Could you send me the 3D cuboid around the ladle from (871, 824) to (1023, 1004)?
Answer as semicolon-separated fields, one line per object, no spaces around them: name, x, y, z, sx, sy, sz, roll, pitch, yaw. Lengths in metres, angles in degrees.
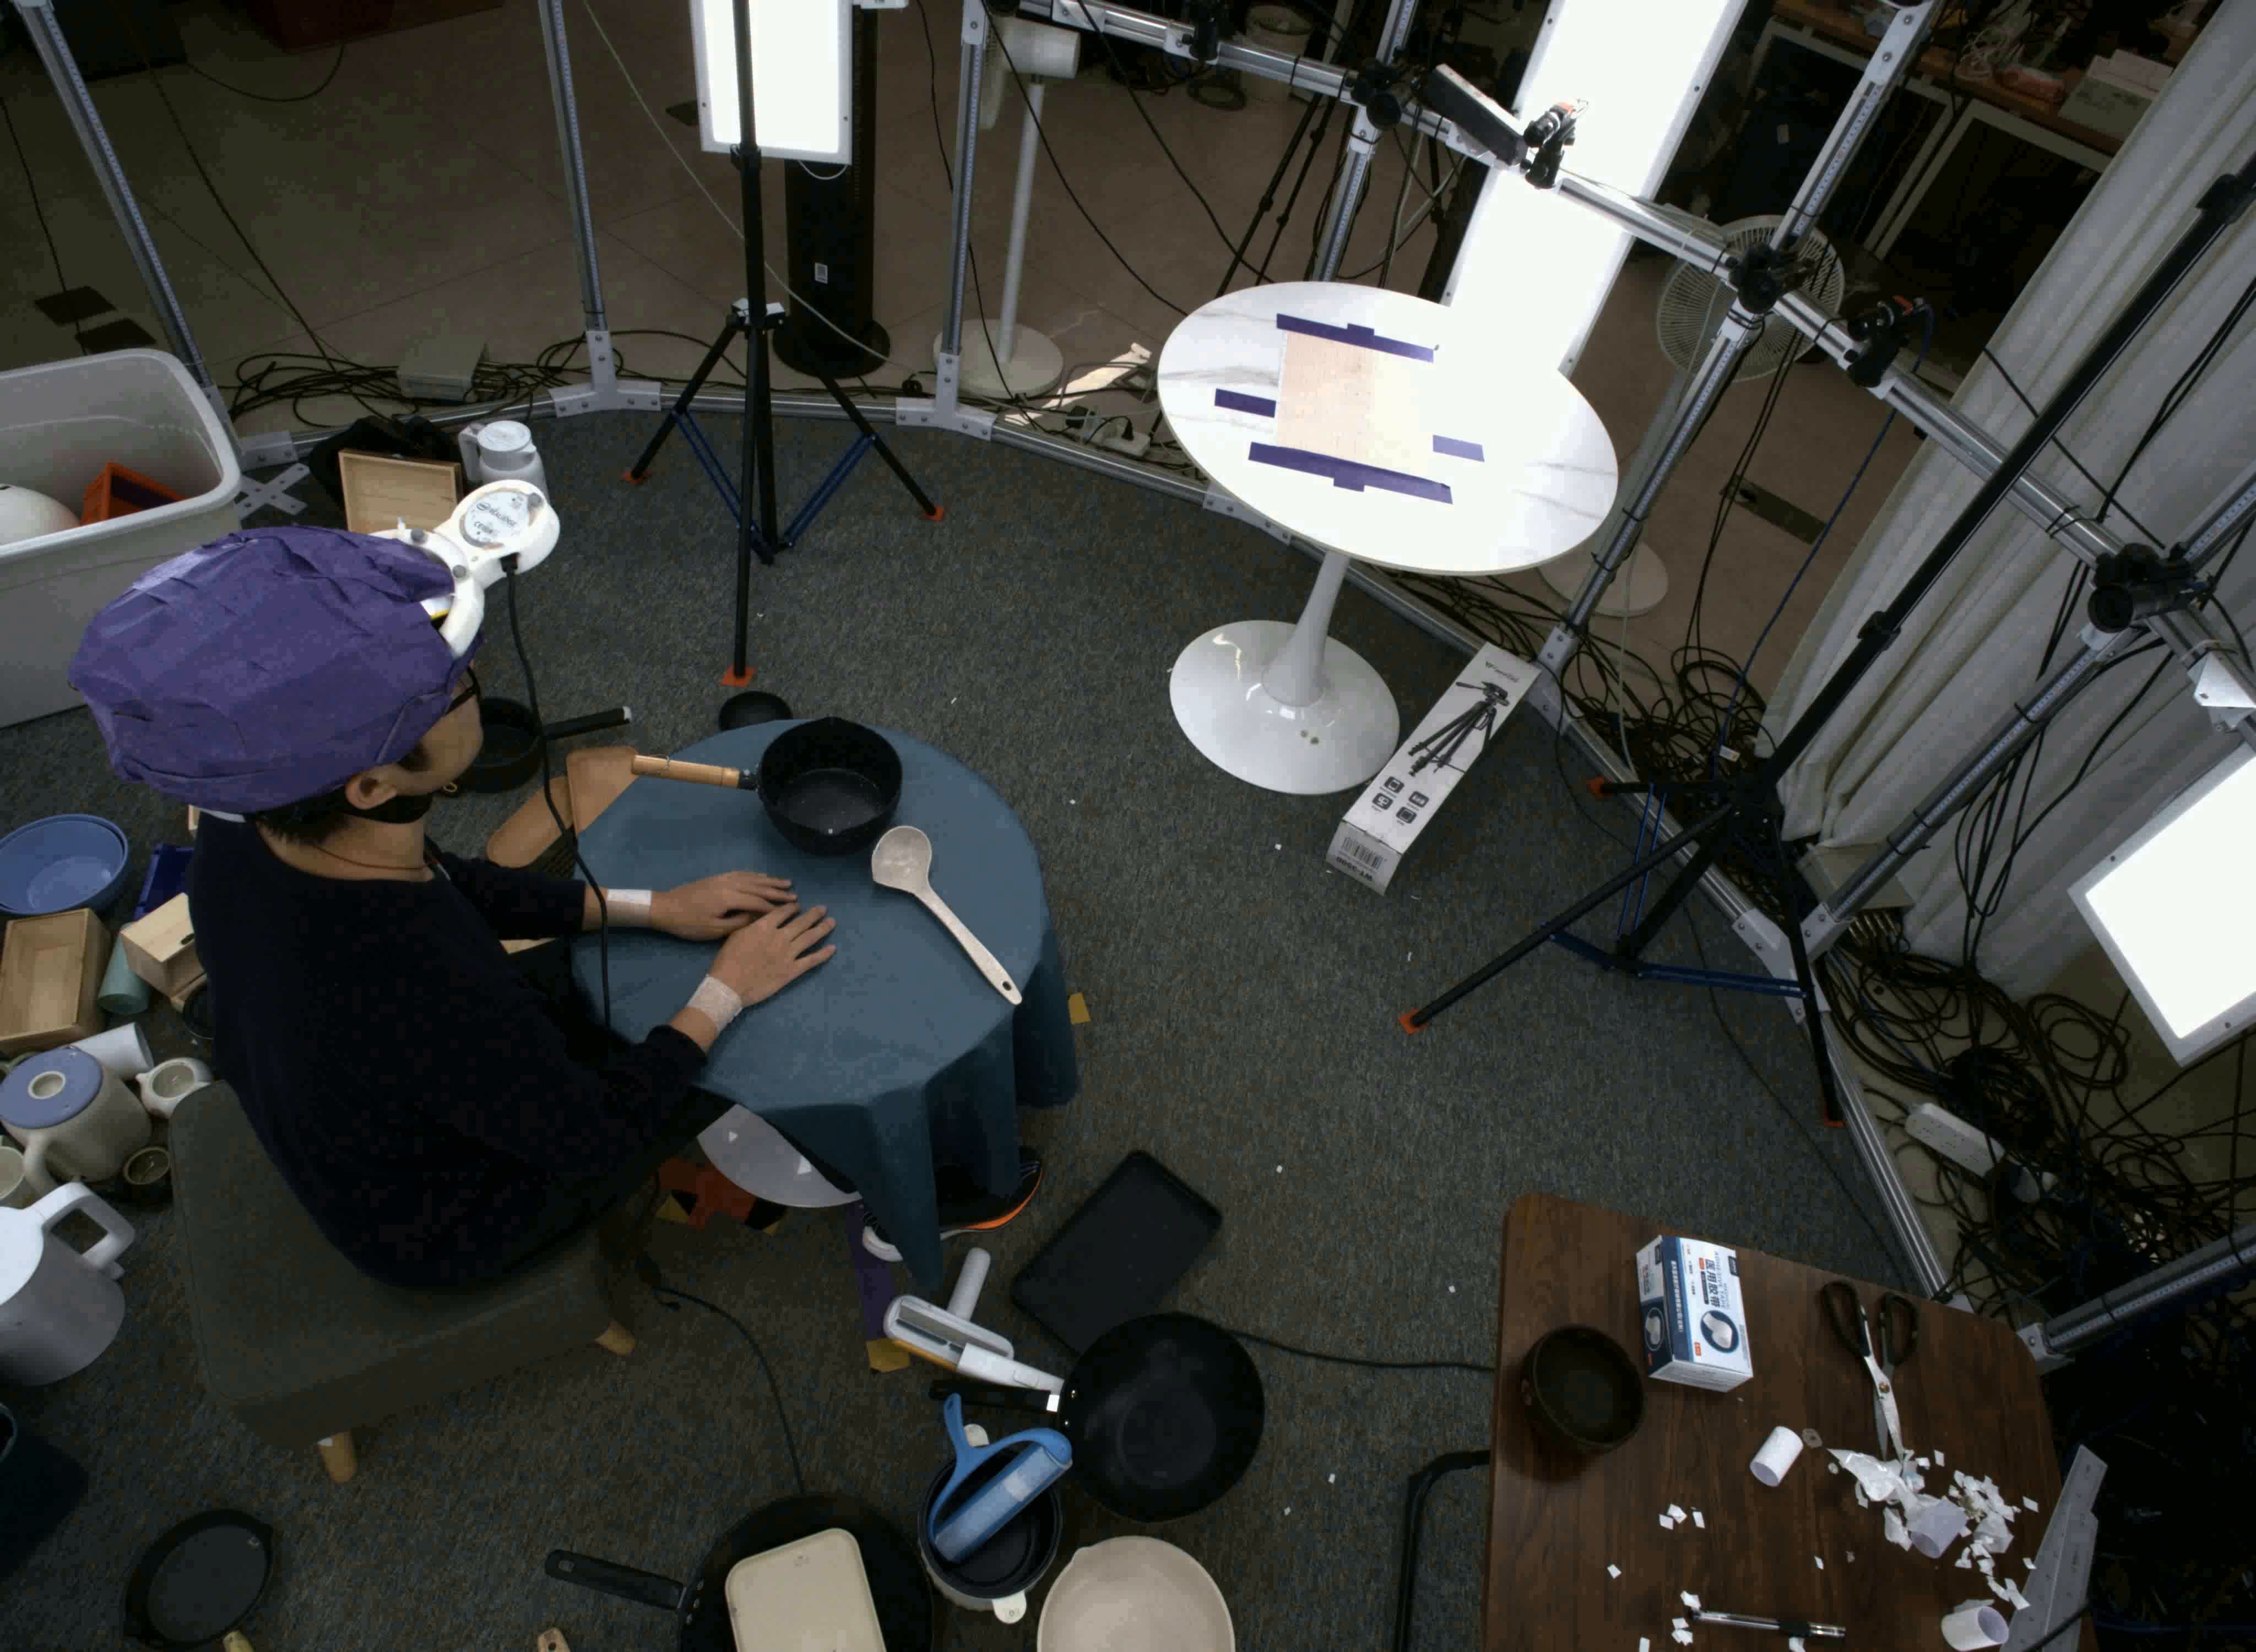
ladle;-0.220;0.109;1.644;0.269;0.070;0.090;43;48;18

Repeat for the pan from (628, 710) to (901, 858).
pan;-0.467;-0.051;1.671;0.344;0.110;0.203;0;55;-17
